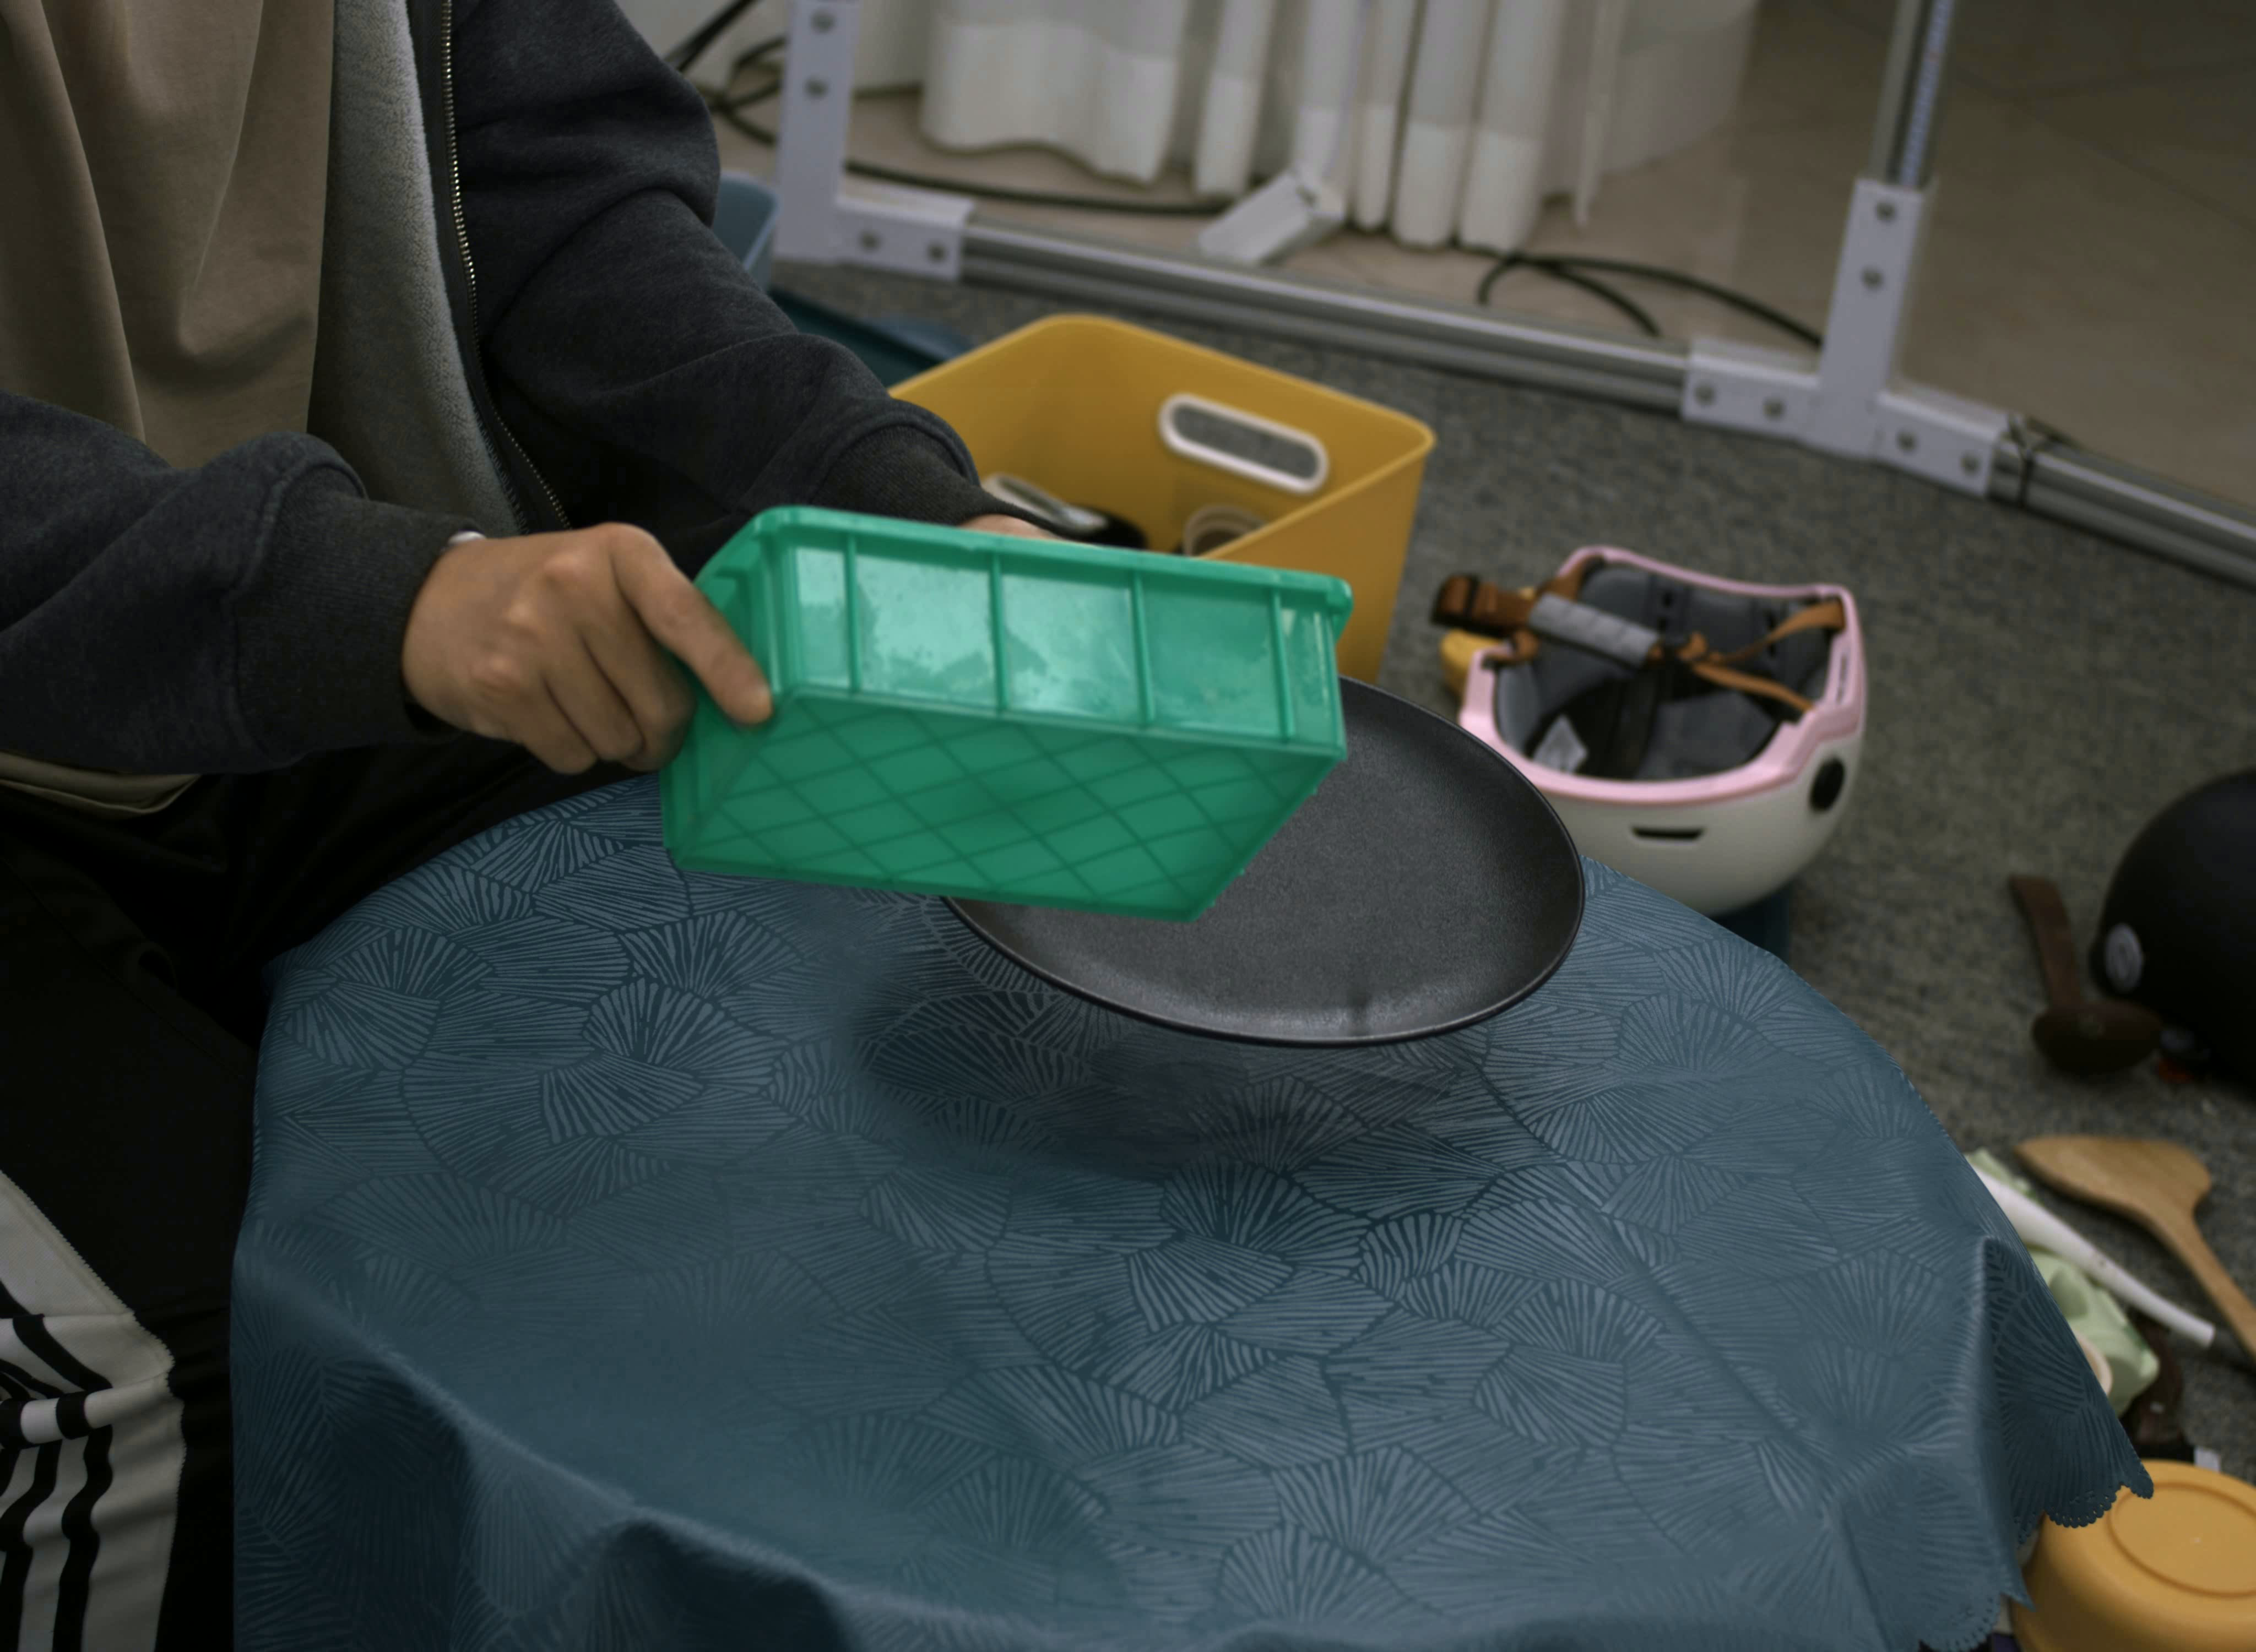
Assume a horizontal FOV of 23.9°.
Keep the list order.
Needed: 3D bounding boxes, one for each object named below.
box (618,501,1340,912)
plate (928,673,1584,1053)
[{"bbox_3d":[-0.044,-0.032,1.655,0.209,0.138,0.066,5,60,-23],"label":"box"},{"bbox_3d":[0.040,0.012,1.888,0.243,0.023,0.246,6,34,-5],"label":"plate"}]
